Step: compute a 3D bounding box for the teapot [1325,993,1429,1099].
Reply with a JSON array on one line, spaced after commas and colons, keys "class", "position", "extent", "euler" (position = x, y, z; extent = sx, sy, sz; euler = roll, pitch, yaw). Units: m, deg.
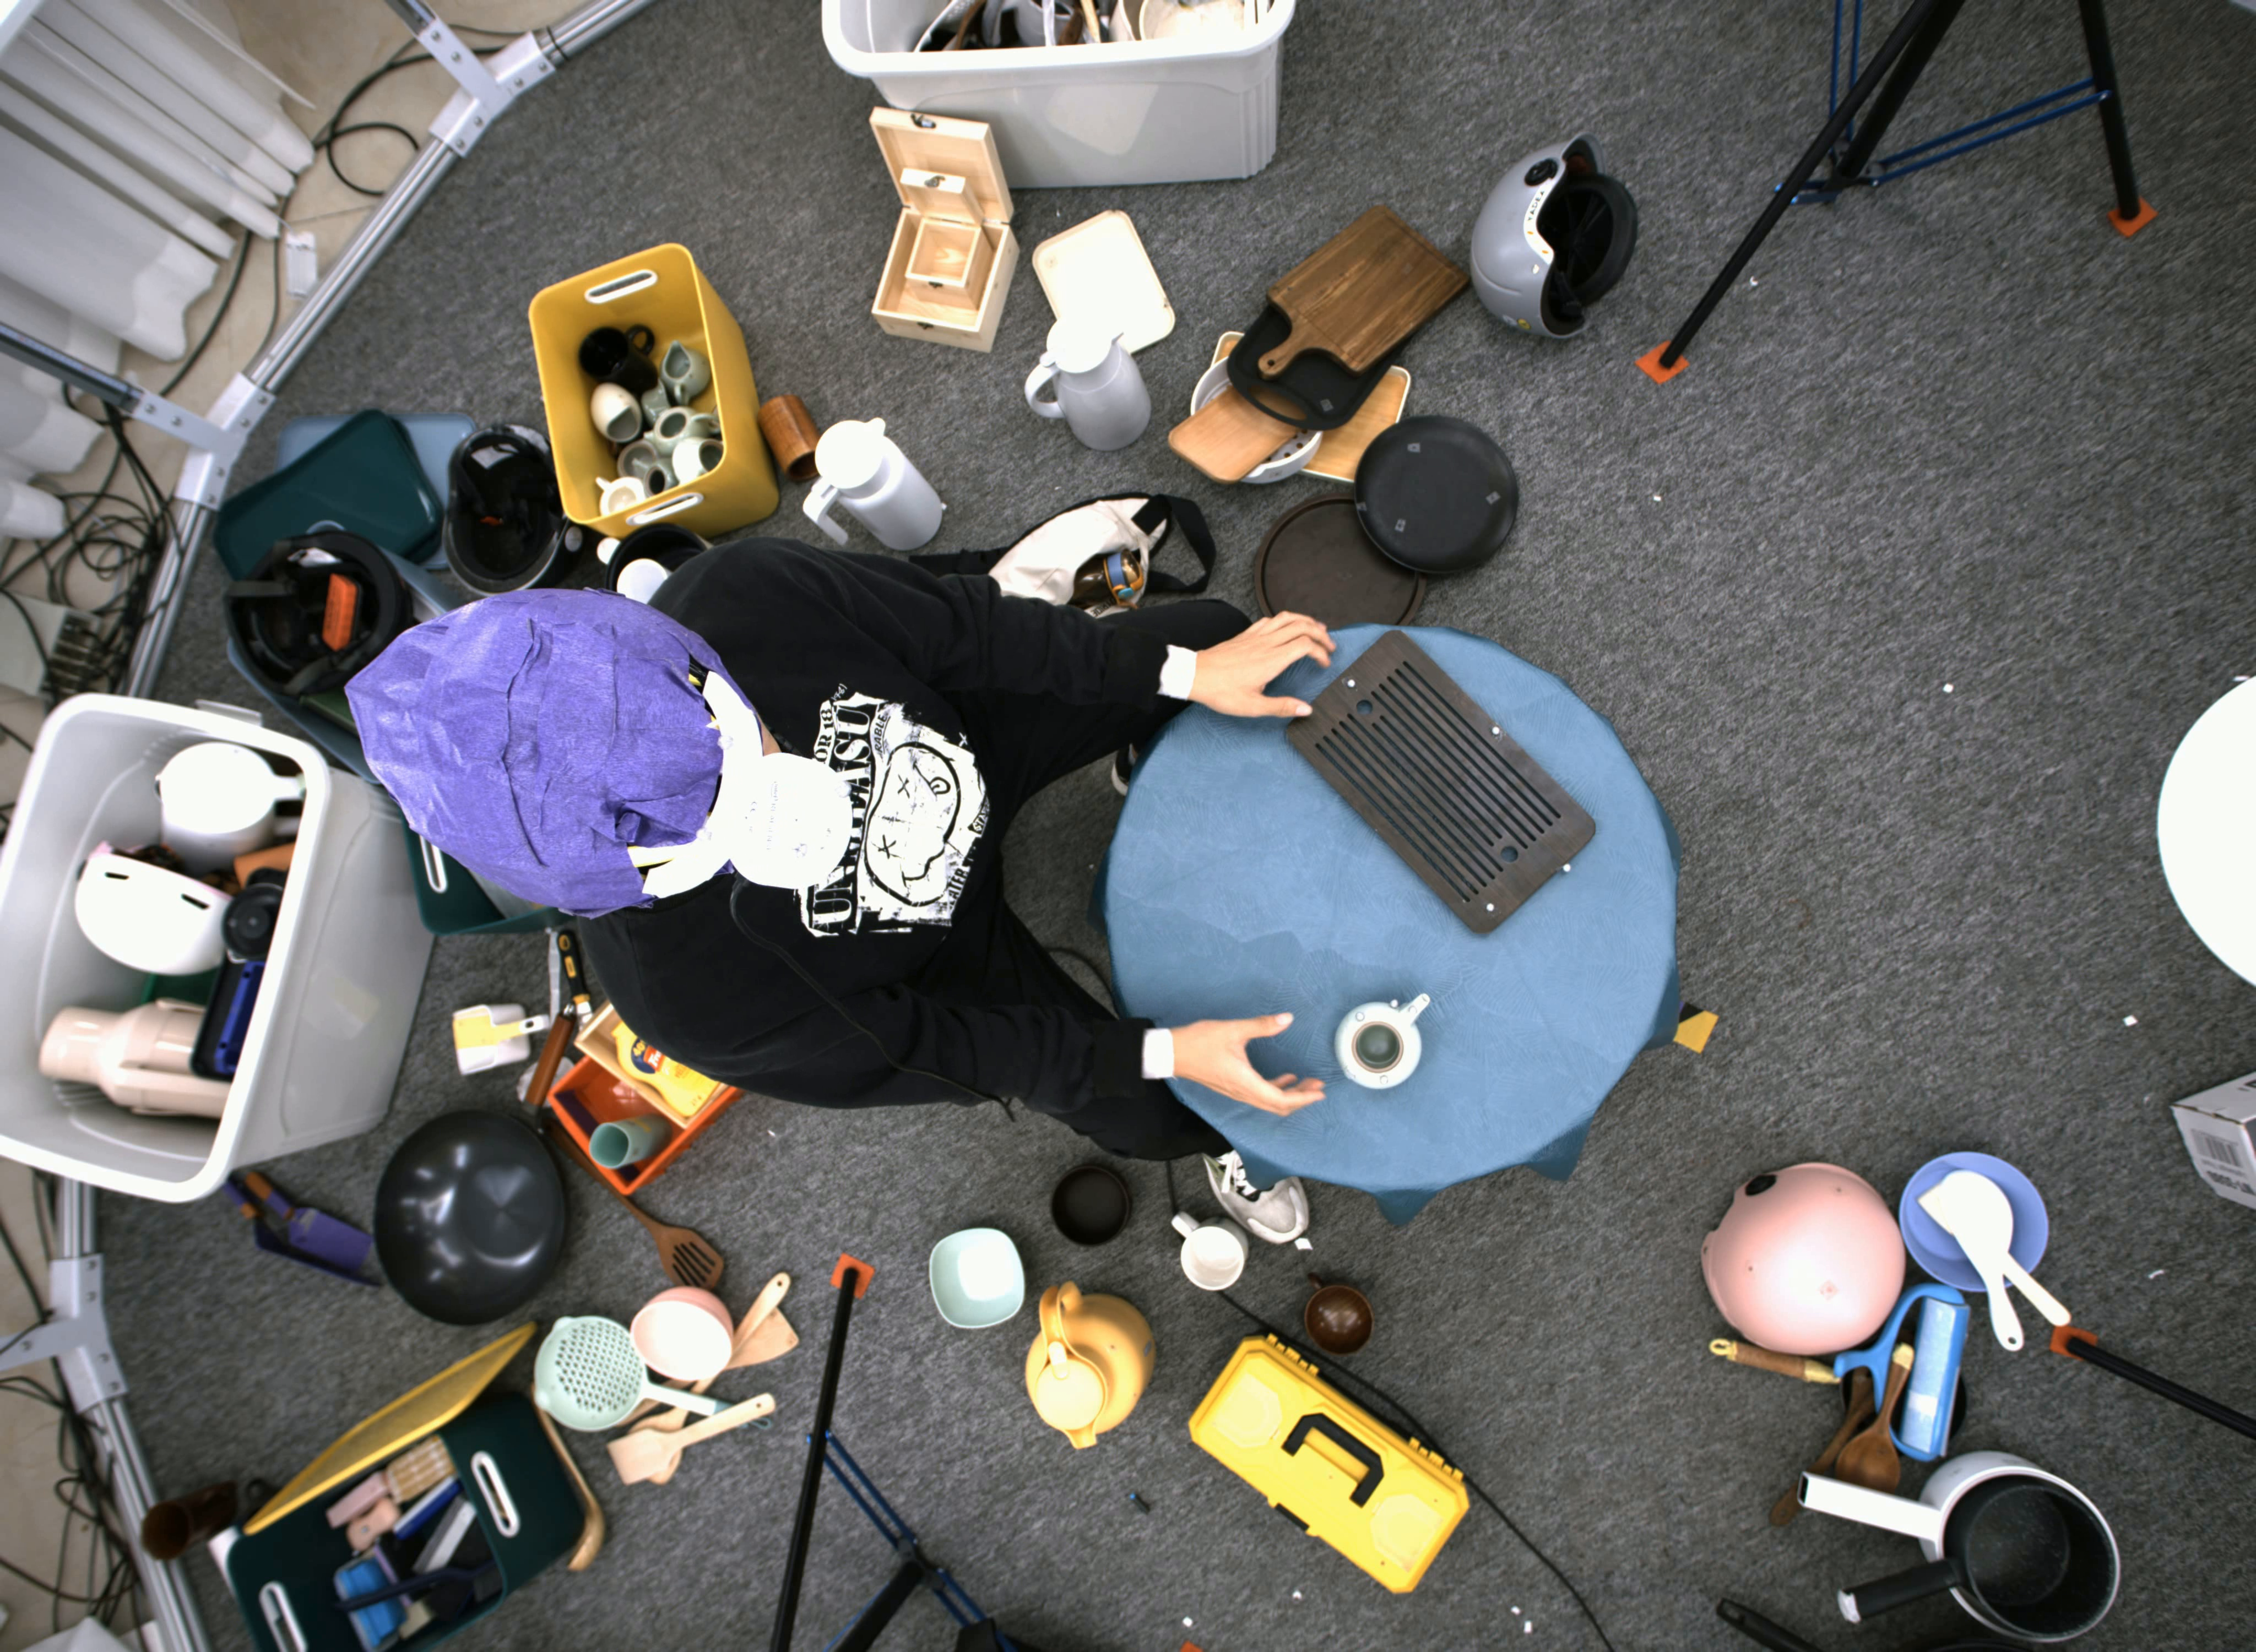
[{"class": "teapot", "position": [0.255, 0.223, 1.420], "extent": [0.144, 0.075, 0.088], "euler": [-45, 80, 4]}]

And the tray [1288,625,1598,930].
[{"class": "tray", "position": [0.329, -0.054, 1.447], "extent": [0.171, 0.018, 0.304], "euler": [-44, 80, 6]}]
